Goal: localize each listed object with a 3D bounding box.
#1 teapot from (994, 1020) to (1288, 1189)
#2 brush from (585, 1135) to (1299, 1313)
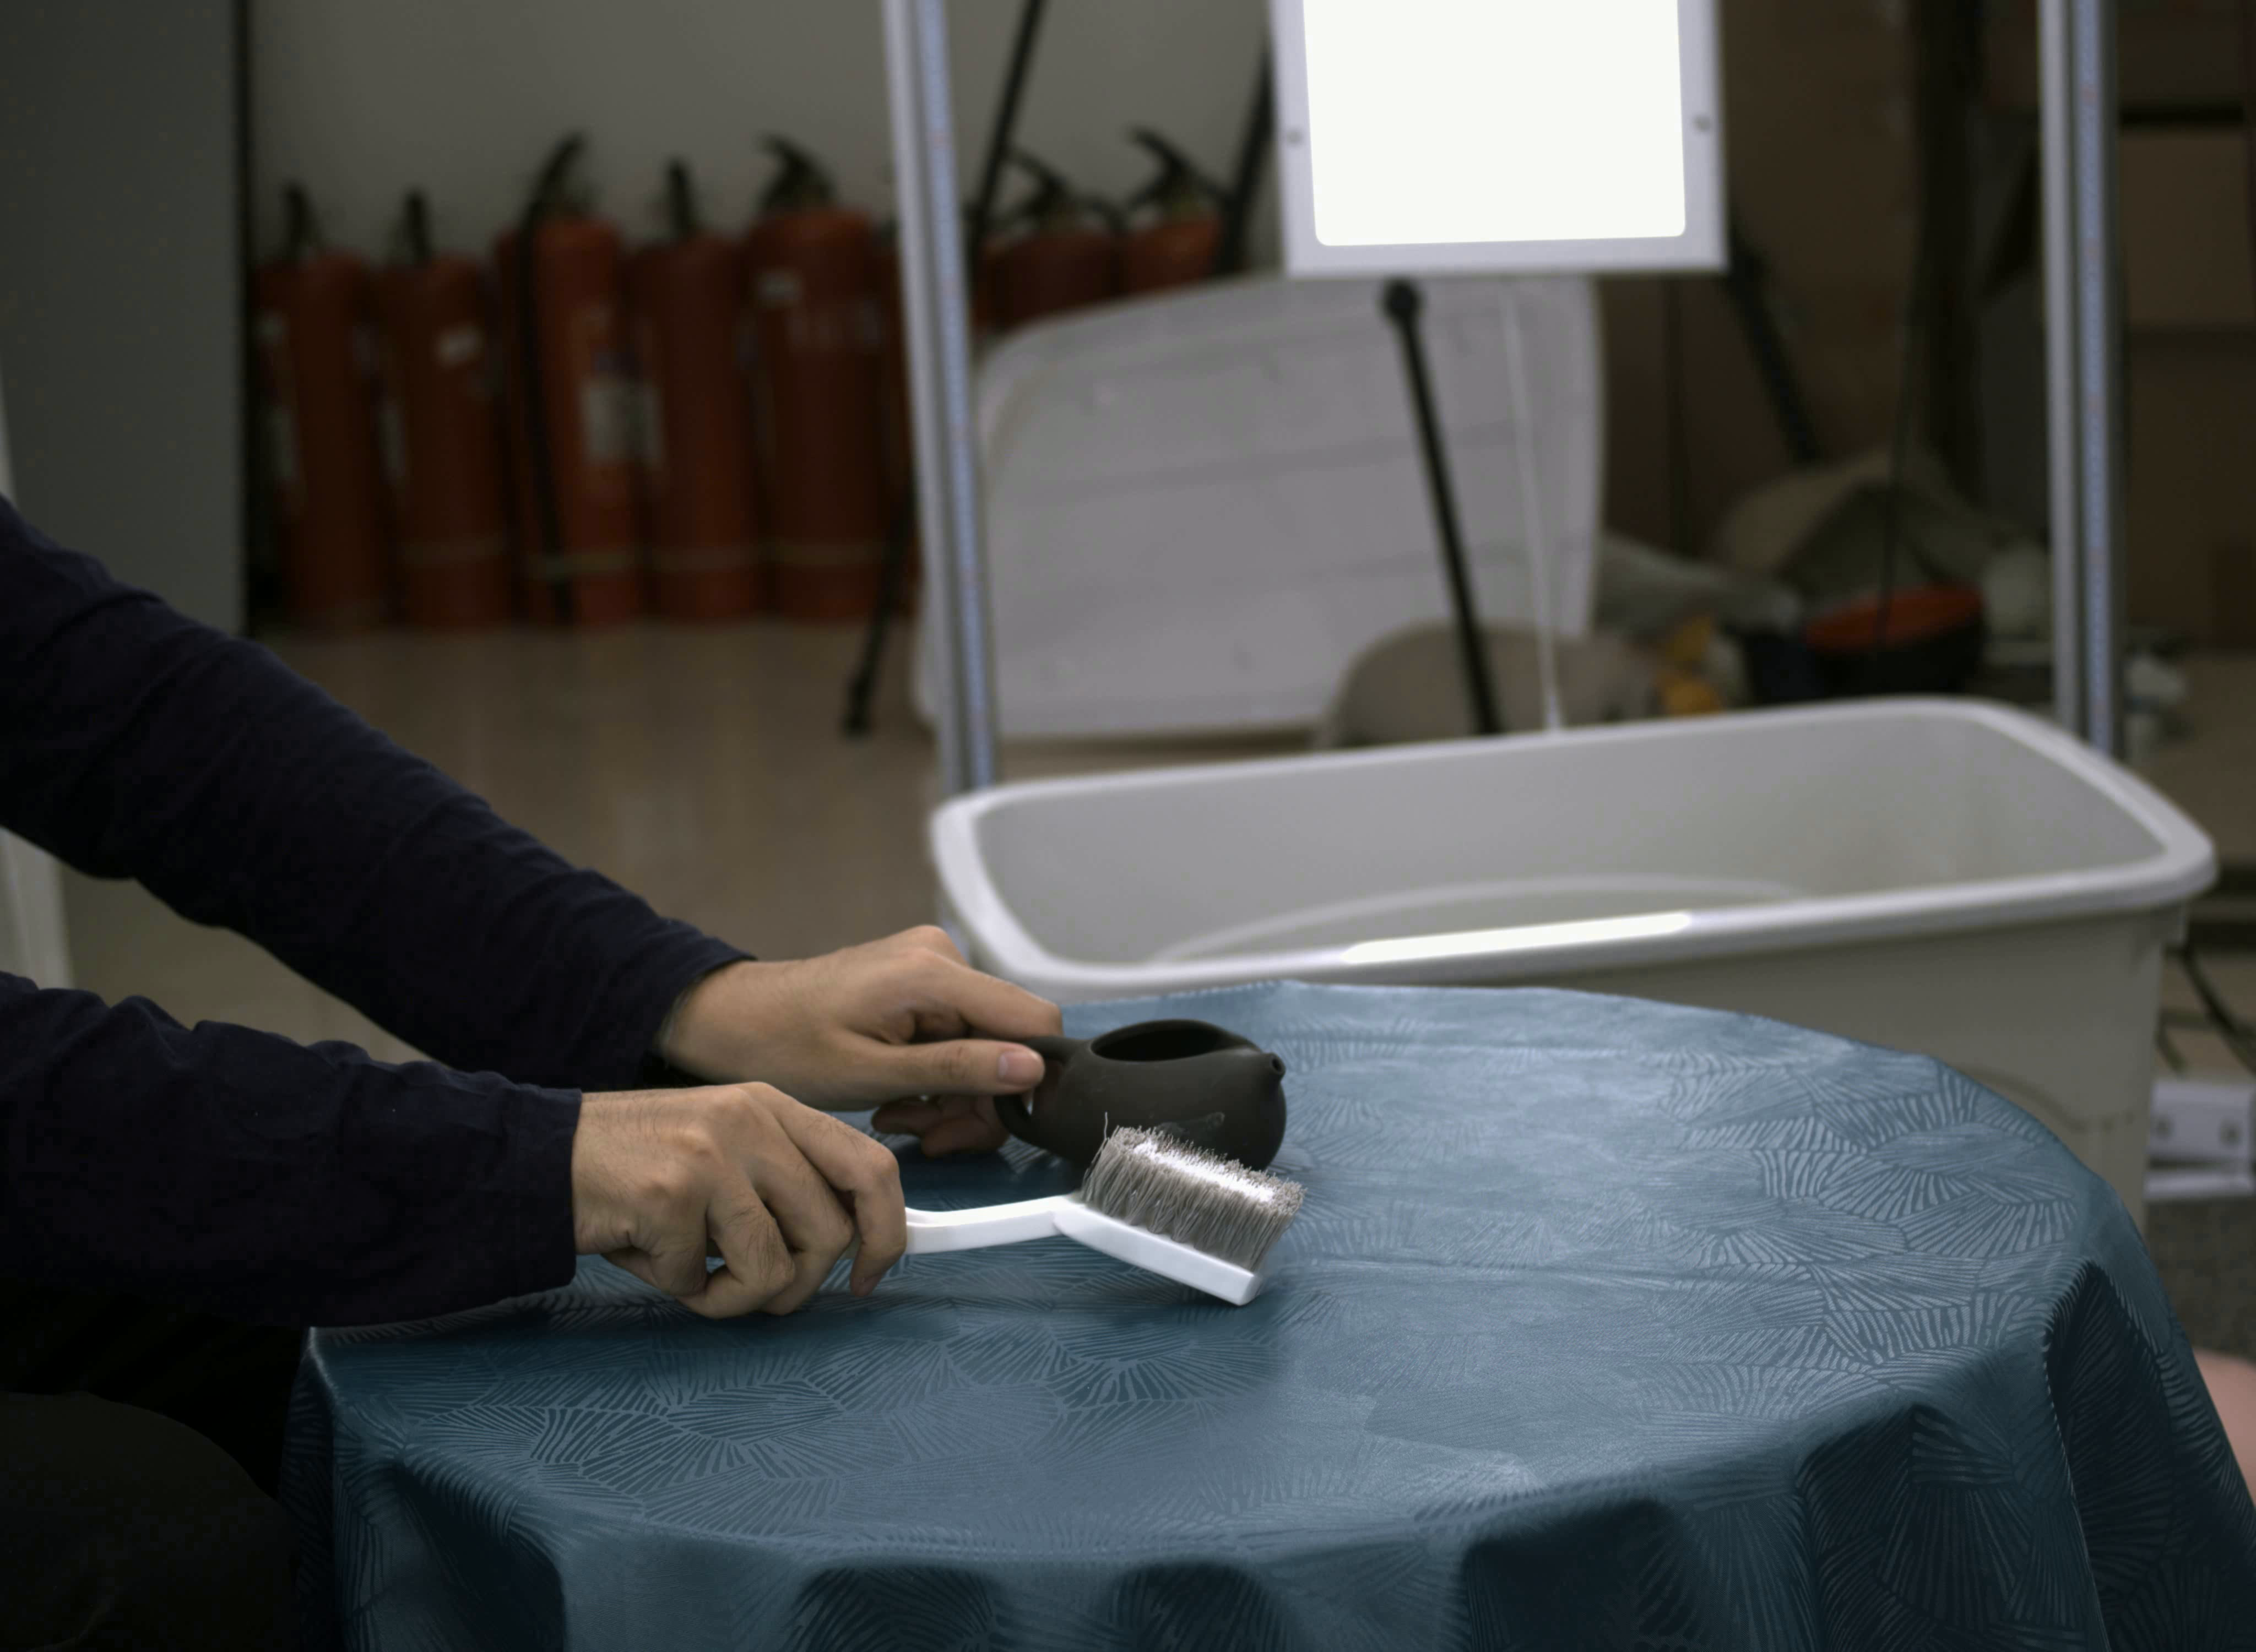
[{"bbox_3d":[0.004,0.098,1.910,0.116,0.053,0.081,3,17,31],"label":"teapot"},{"bbox_3d":[-0.064,0.121,1.805,0.246,0.050,0.034,5,20,17],"label":"brush"}]
